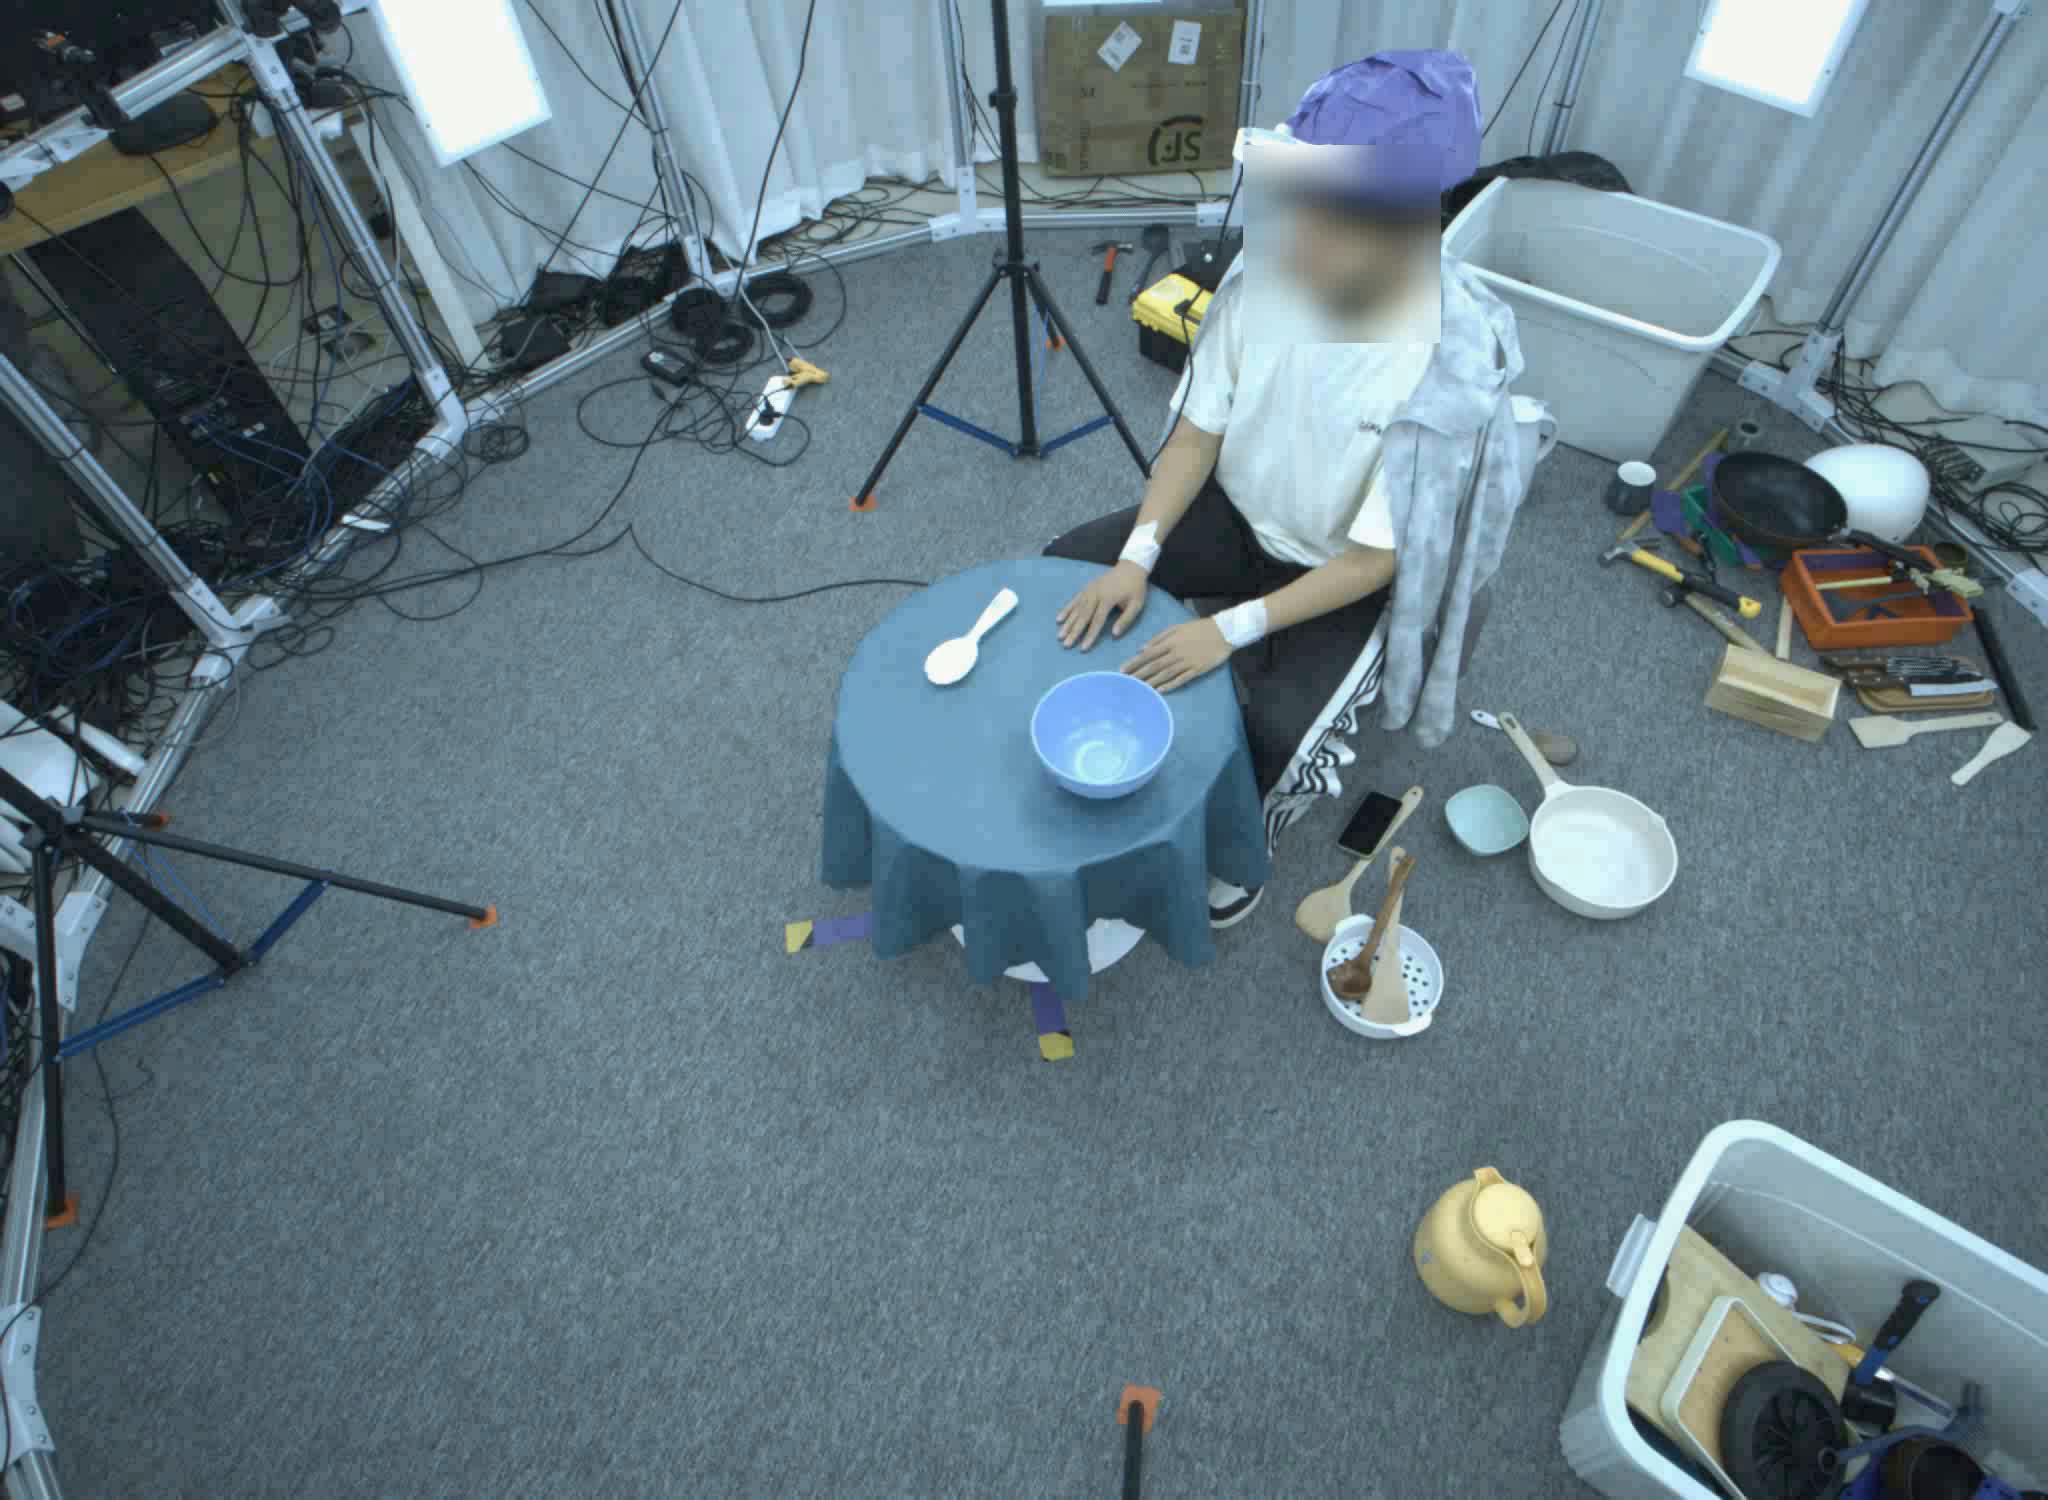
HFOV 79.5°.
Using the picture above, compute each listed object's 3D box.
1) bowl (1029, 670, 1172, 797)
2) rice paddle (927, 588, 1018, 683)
[{"bbox_3d":[0.109,-0.008,1.731,0.196,0.096,0.194,-2,55,4],"label":"bowl"},{"bbox_3d":[-0.078,-0.176,1.898,0.068,0.030,0.206,27,60,21],"label":"rice paddle"}]
